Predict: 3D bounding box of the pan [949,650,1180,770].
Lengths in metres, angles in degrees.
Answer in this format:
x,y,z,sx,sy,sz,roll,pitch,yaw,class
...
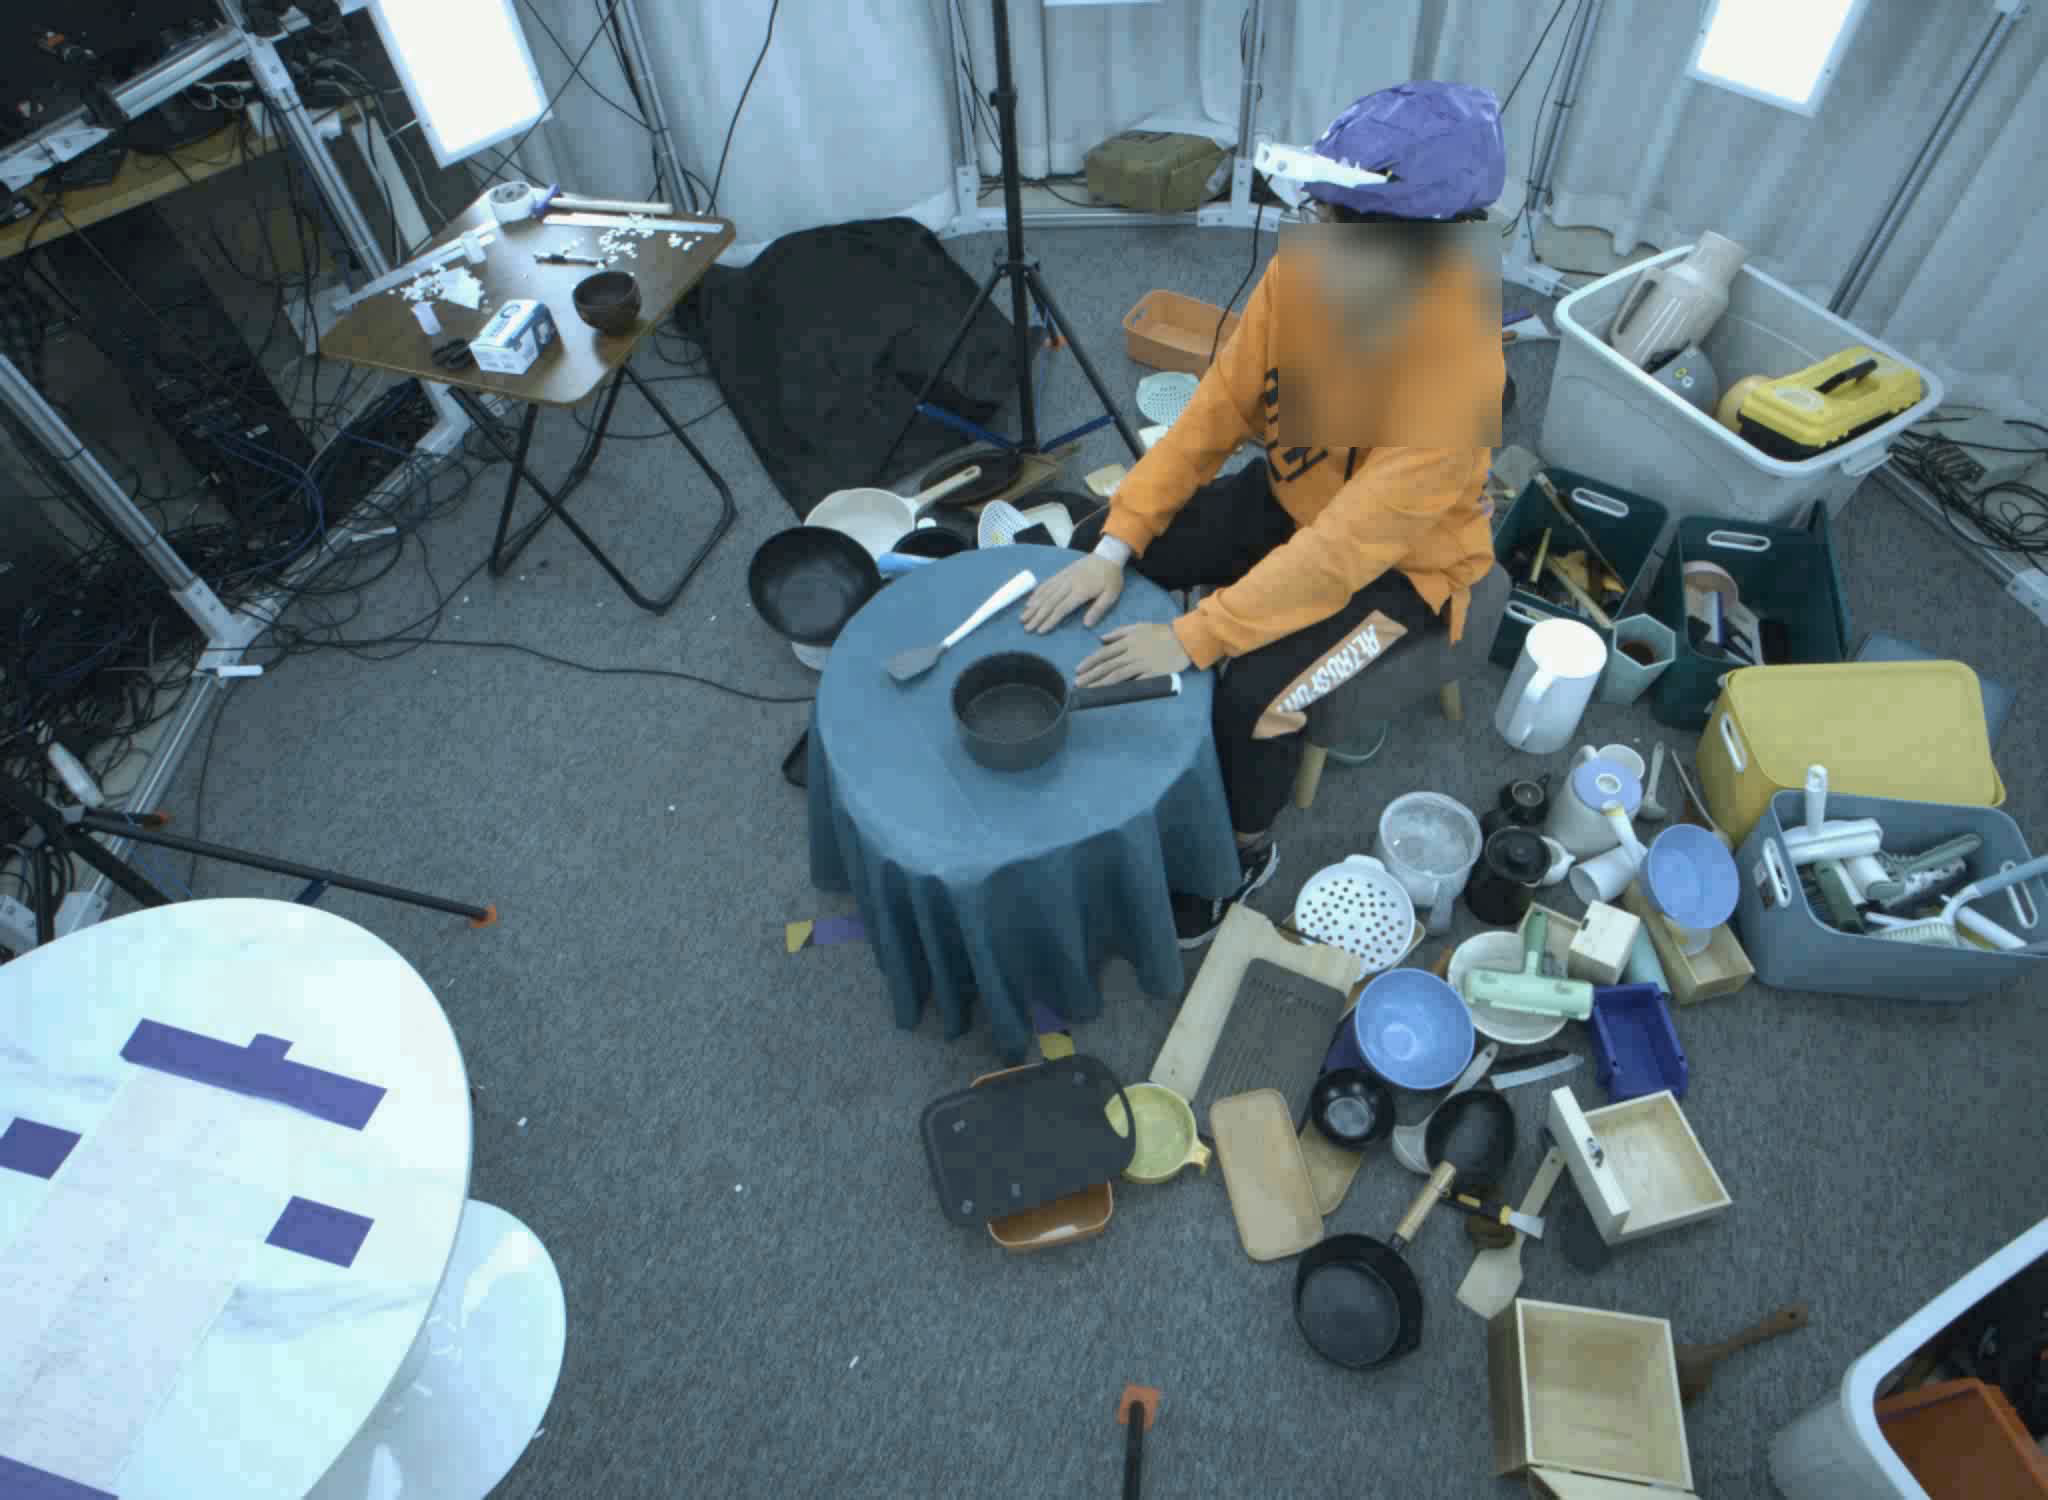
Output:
x,y,z,sx,sy,sz,roll,pitch,yaw,class
0.061,-0.061,1.776,0.328,0.087,0.170,-2,55,3,pan

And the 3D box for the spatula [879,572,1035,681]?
x,y,z,sx,sy,sz,roll,pitch,yaw,class
-0.099,-0.191,1.906,0.290,0.032,0.058,-37,64,-23,spatula
